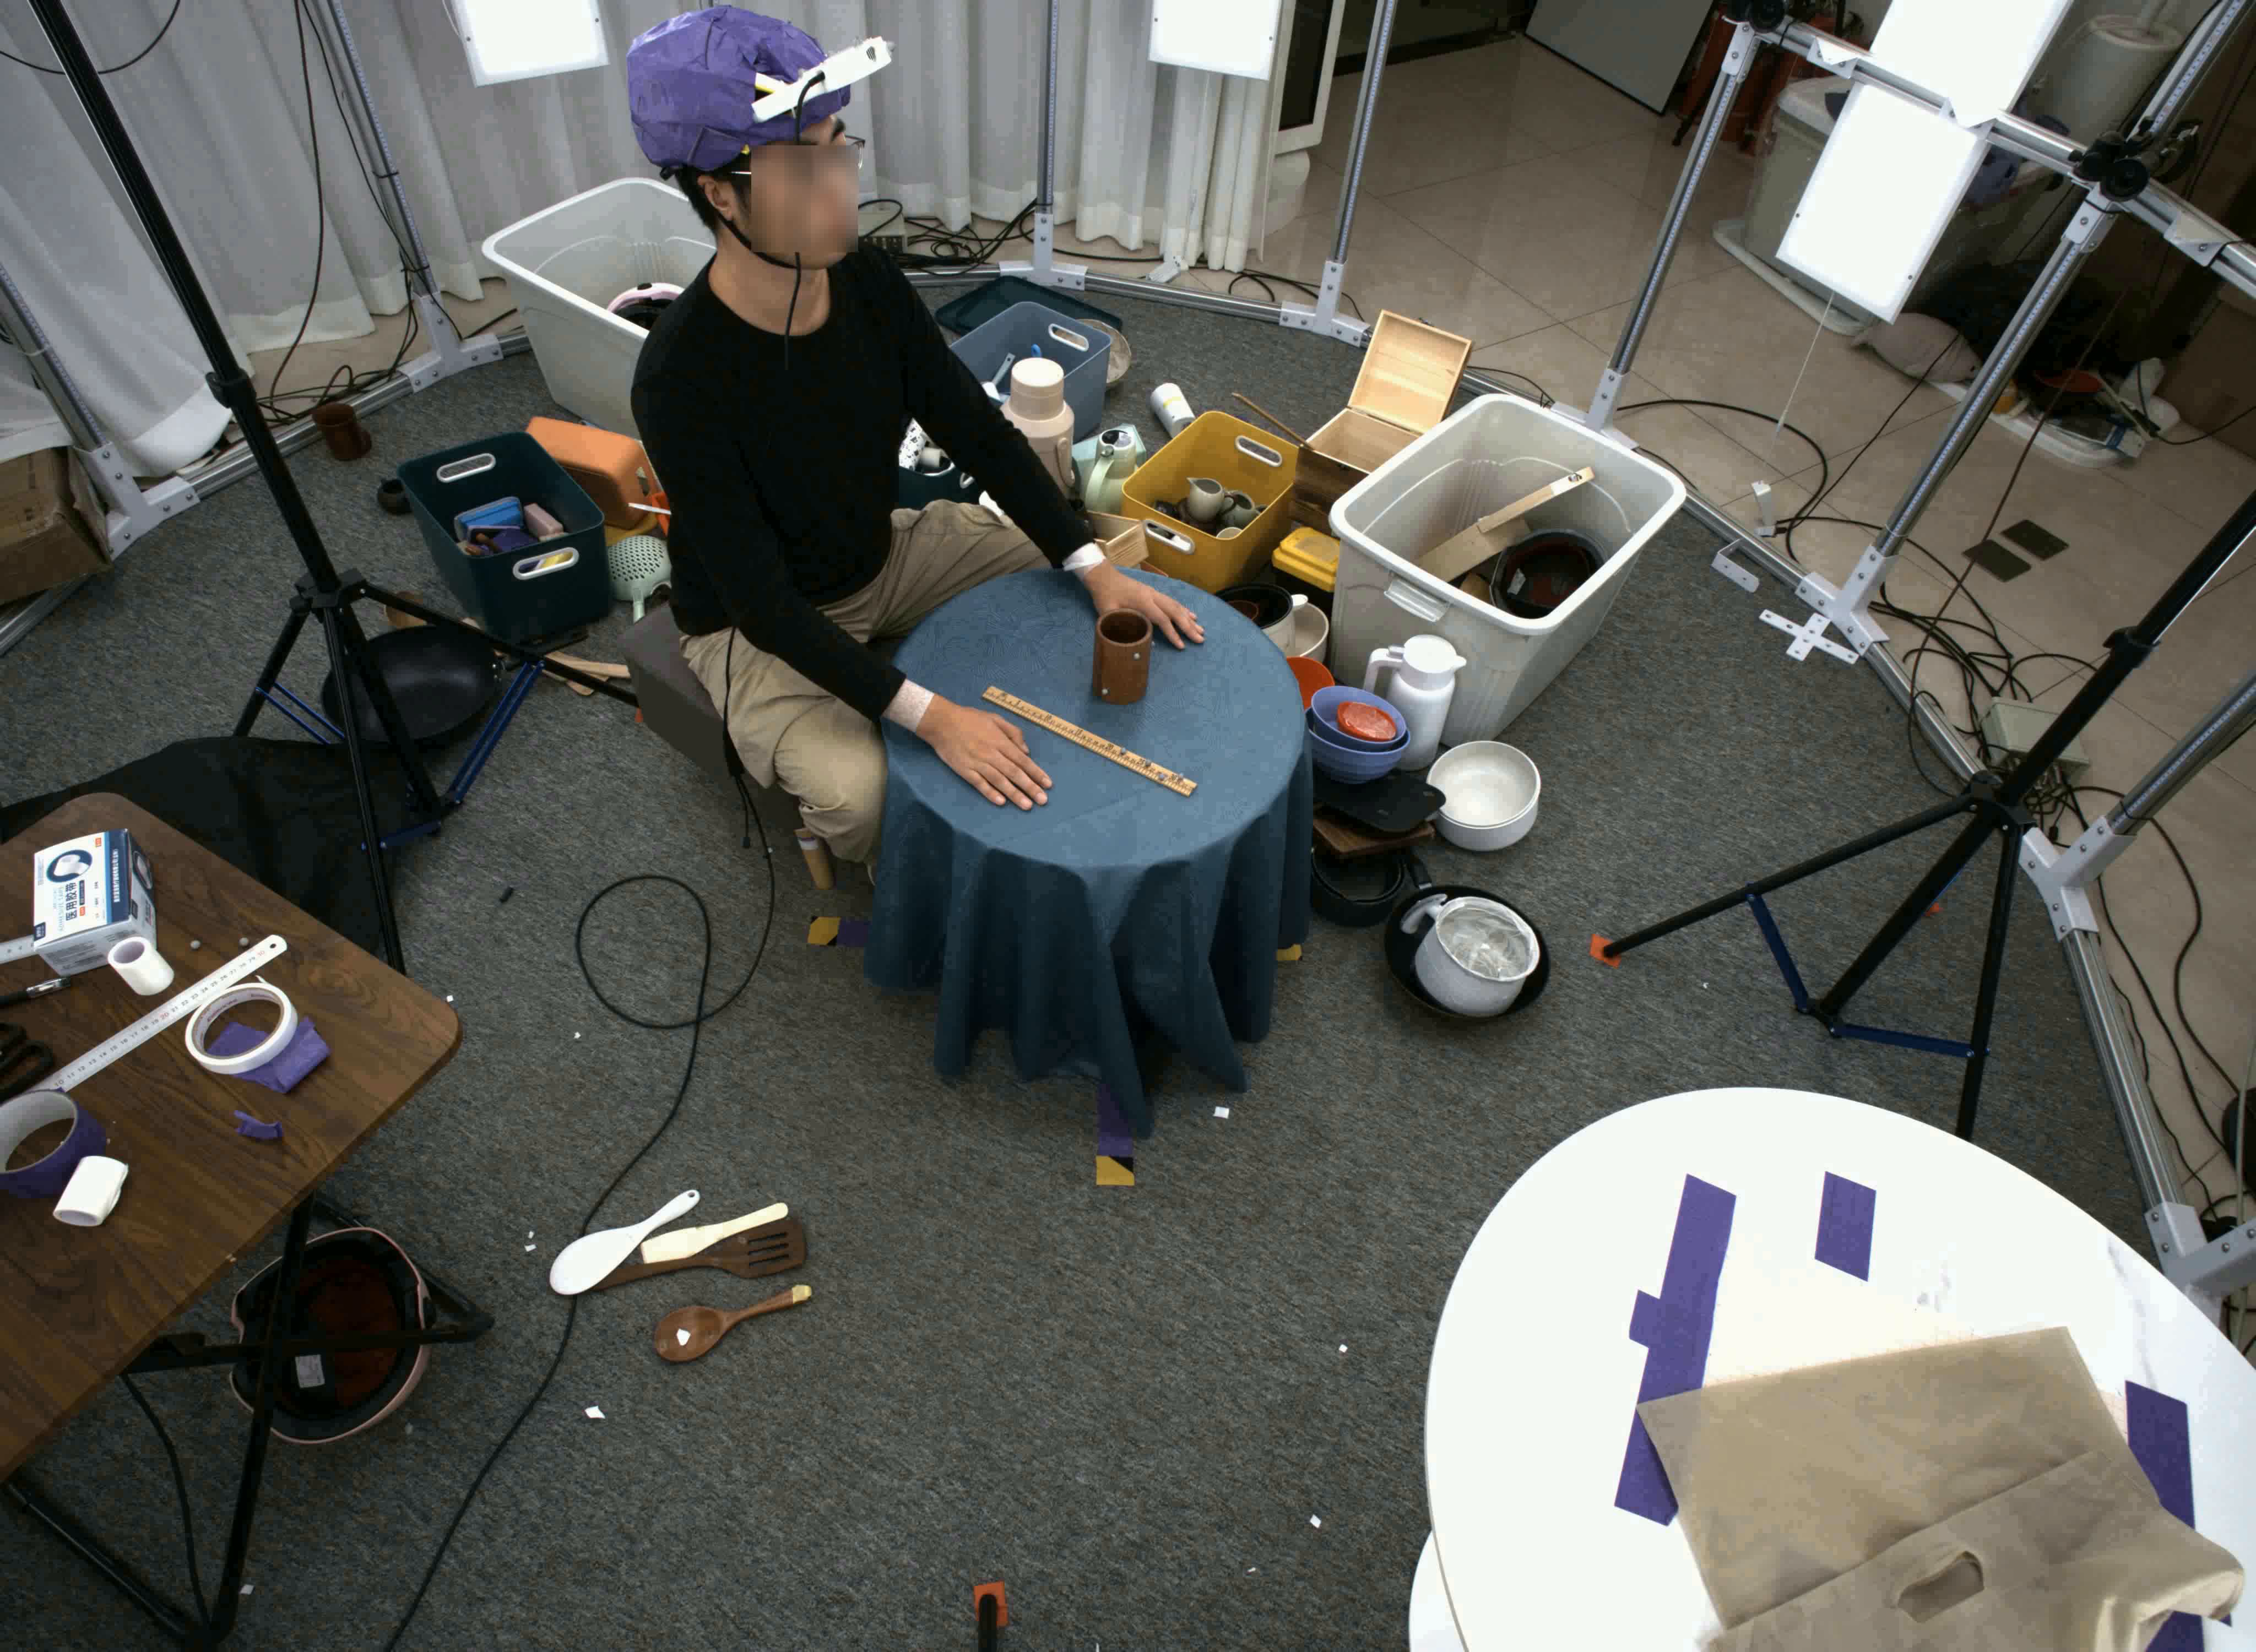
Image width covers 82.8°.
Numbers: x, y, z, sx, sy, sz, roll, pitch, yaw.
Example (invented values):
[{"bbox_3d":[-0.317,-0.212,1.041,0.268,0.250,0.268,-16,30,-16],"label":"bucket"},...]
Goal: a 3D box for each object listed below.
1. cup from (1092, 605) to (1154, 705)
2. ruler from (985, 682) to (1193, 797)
[{"bbox_3d":[-0.008,-0.239,1.801,0.087,0.115,0.090,2,48,-3],"label":"cup"},{"bbox_3d":[-0.057,-0.123,1.766,0.335,0.021,0.028,28,49,19],"label":"ruler"}]
